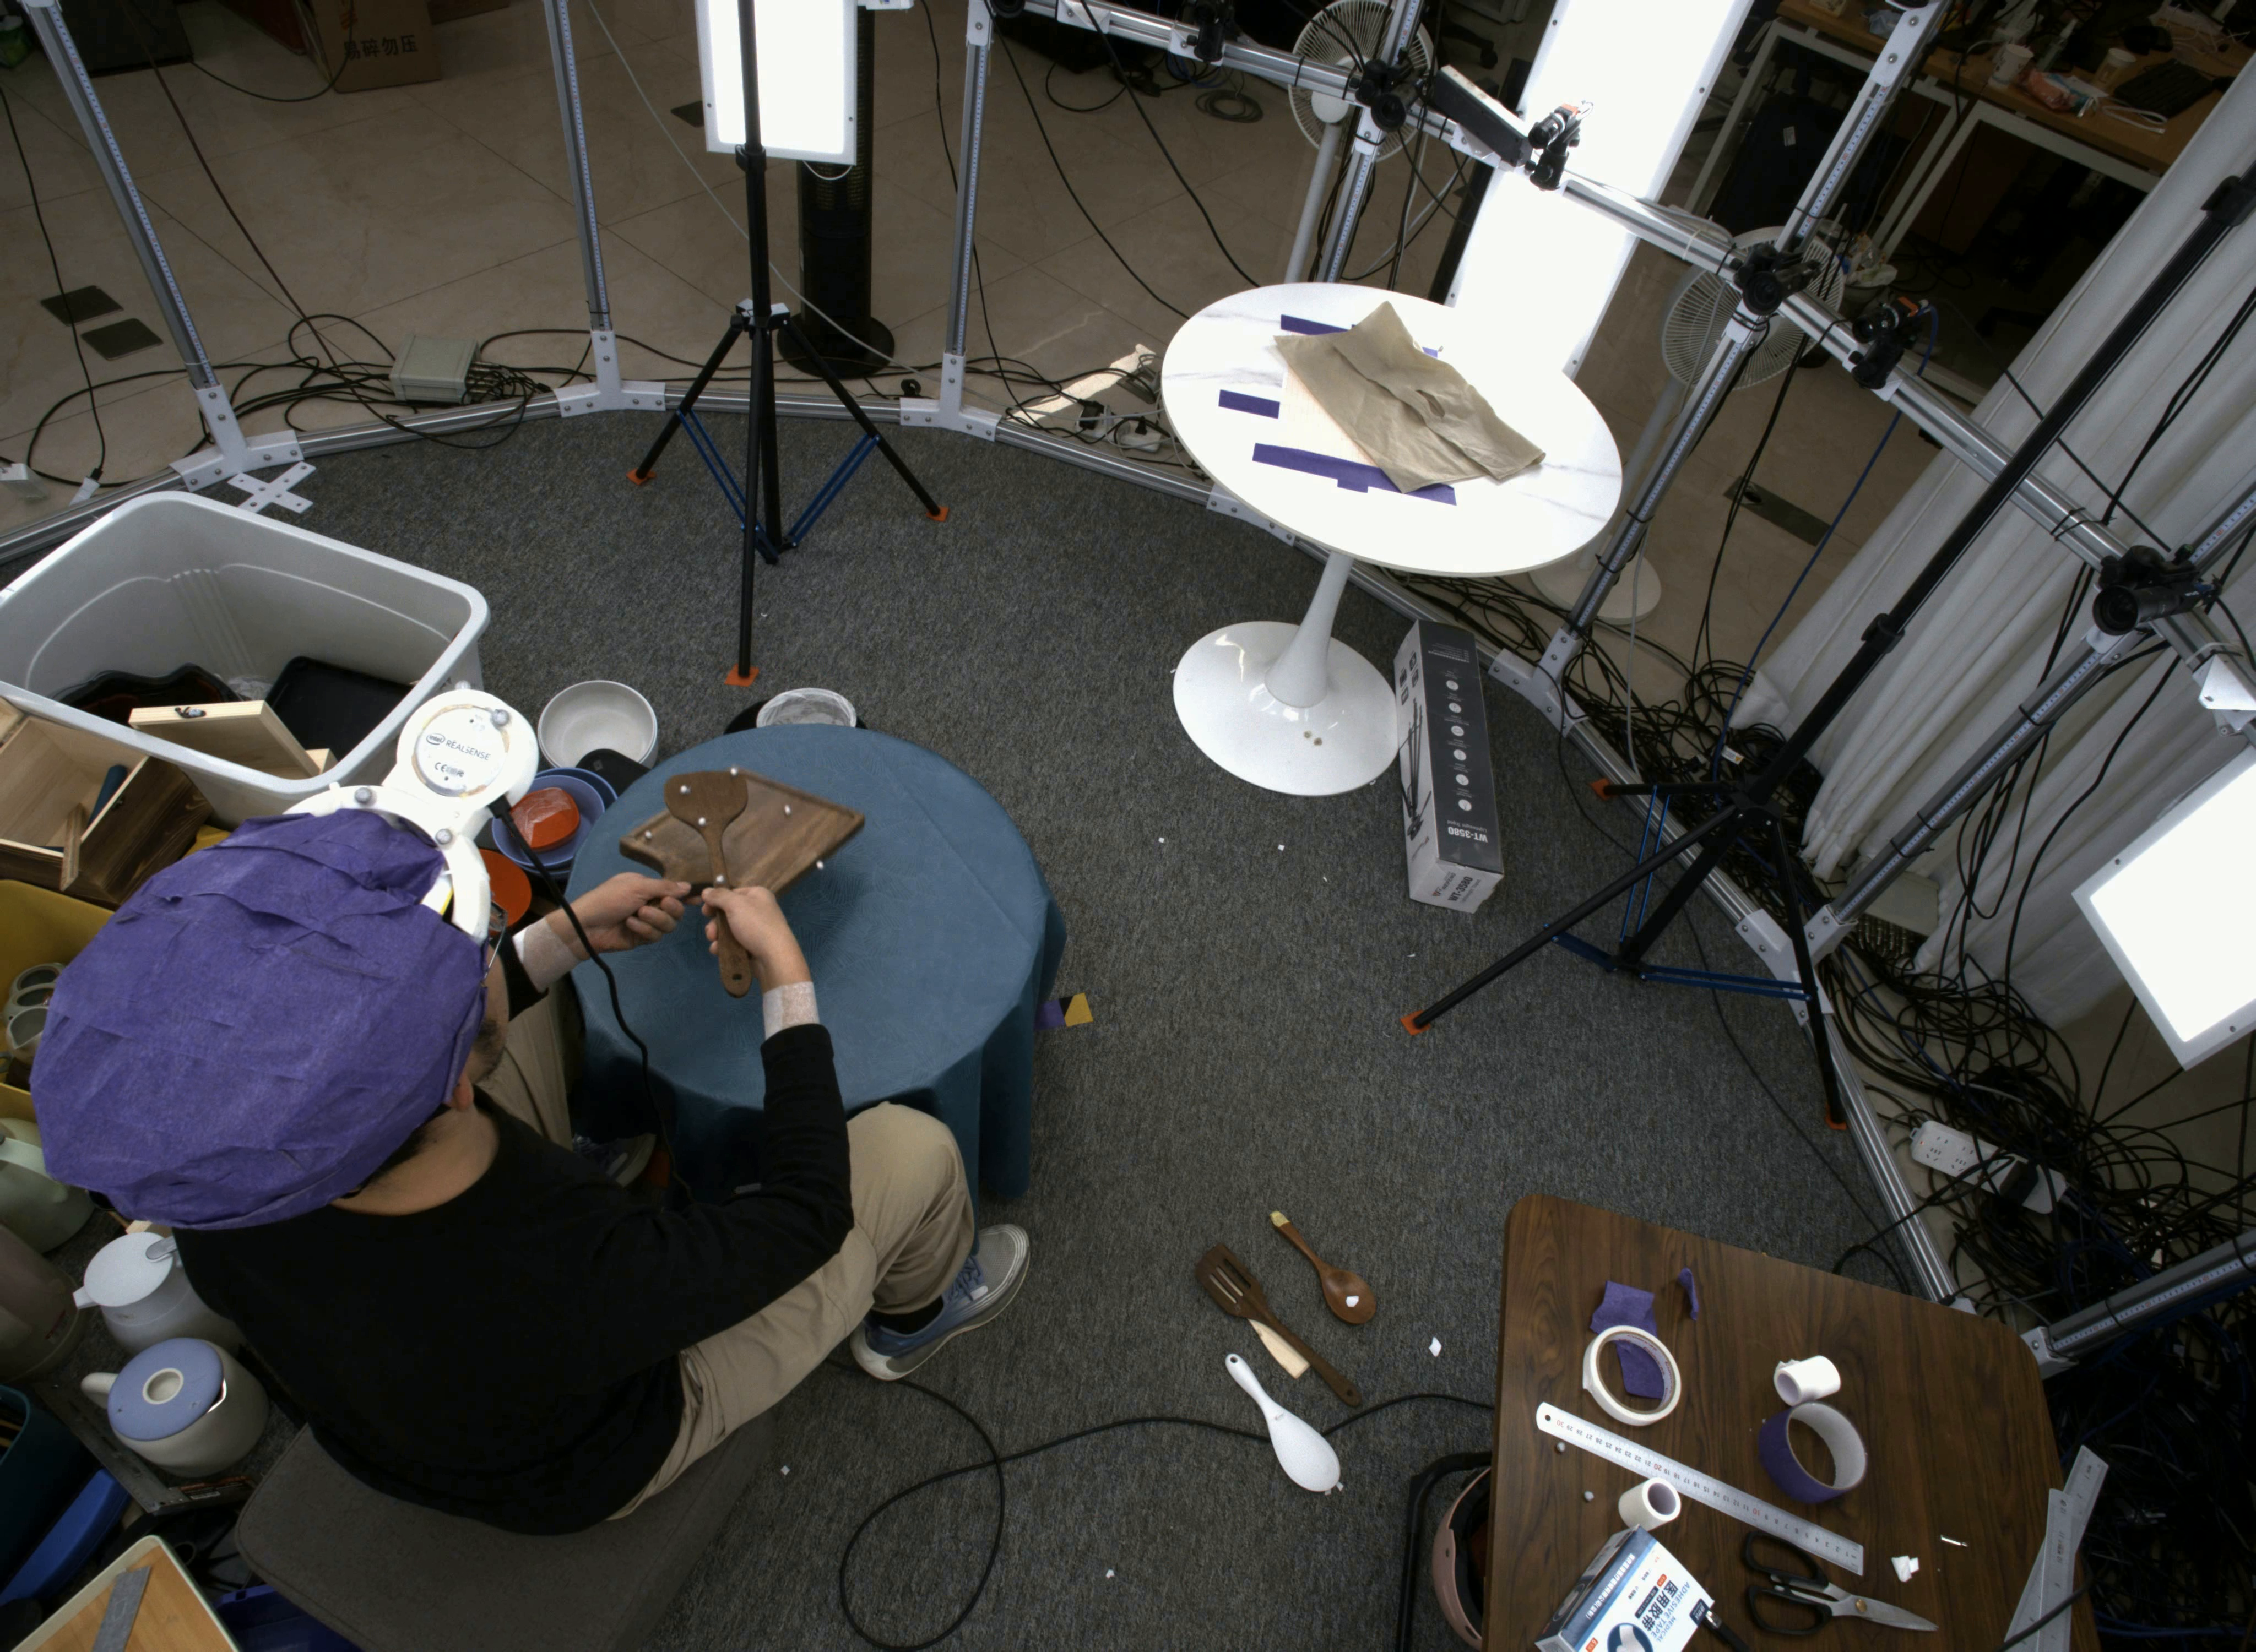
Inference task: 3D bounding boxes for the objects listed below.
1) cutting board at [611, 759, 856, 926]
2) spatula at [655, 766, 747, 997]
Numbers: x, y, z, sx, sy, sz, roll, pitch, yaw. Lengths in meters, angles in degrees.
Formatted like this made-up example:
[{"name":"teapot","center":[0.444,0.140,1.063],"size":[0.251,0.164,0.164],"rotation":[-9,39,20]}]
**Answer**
[{"name":"cutting board","center":[-0.477,0.020,1.495],"size":[0.198,0.024,0.349],"rotation":[20,29,7]},{"name":"spatula","center":[-0.438,0.044,1.359],"size":[0.097,0.016,0.373],"rotation":[-5,38,-22]}]
